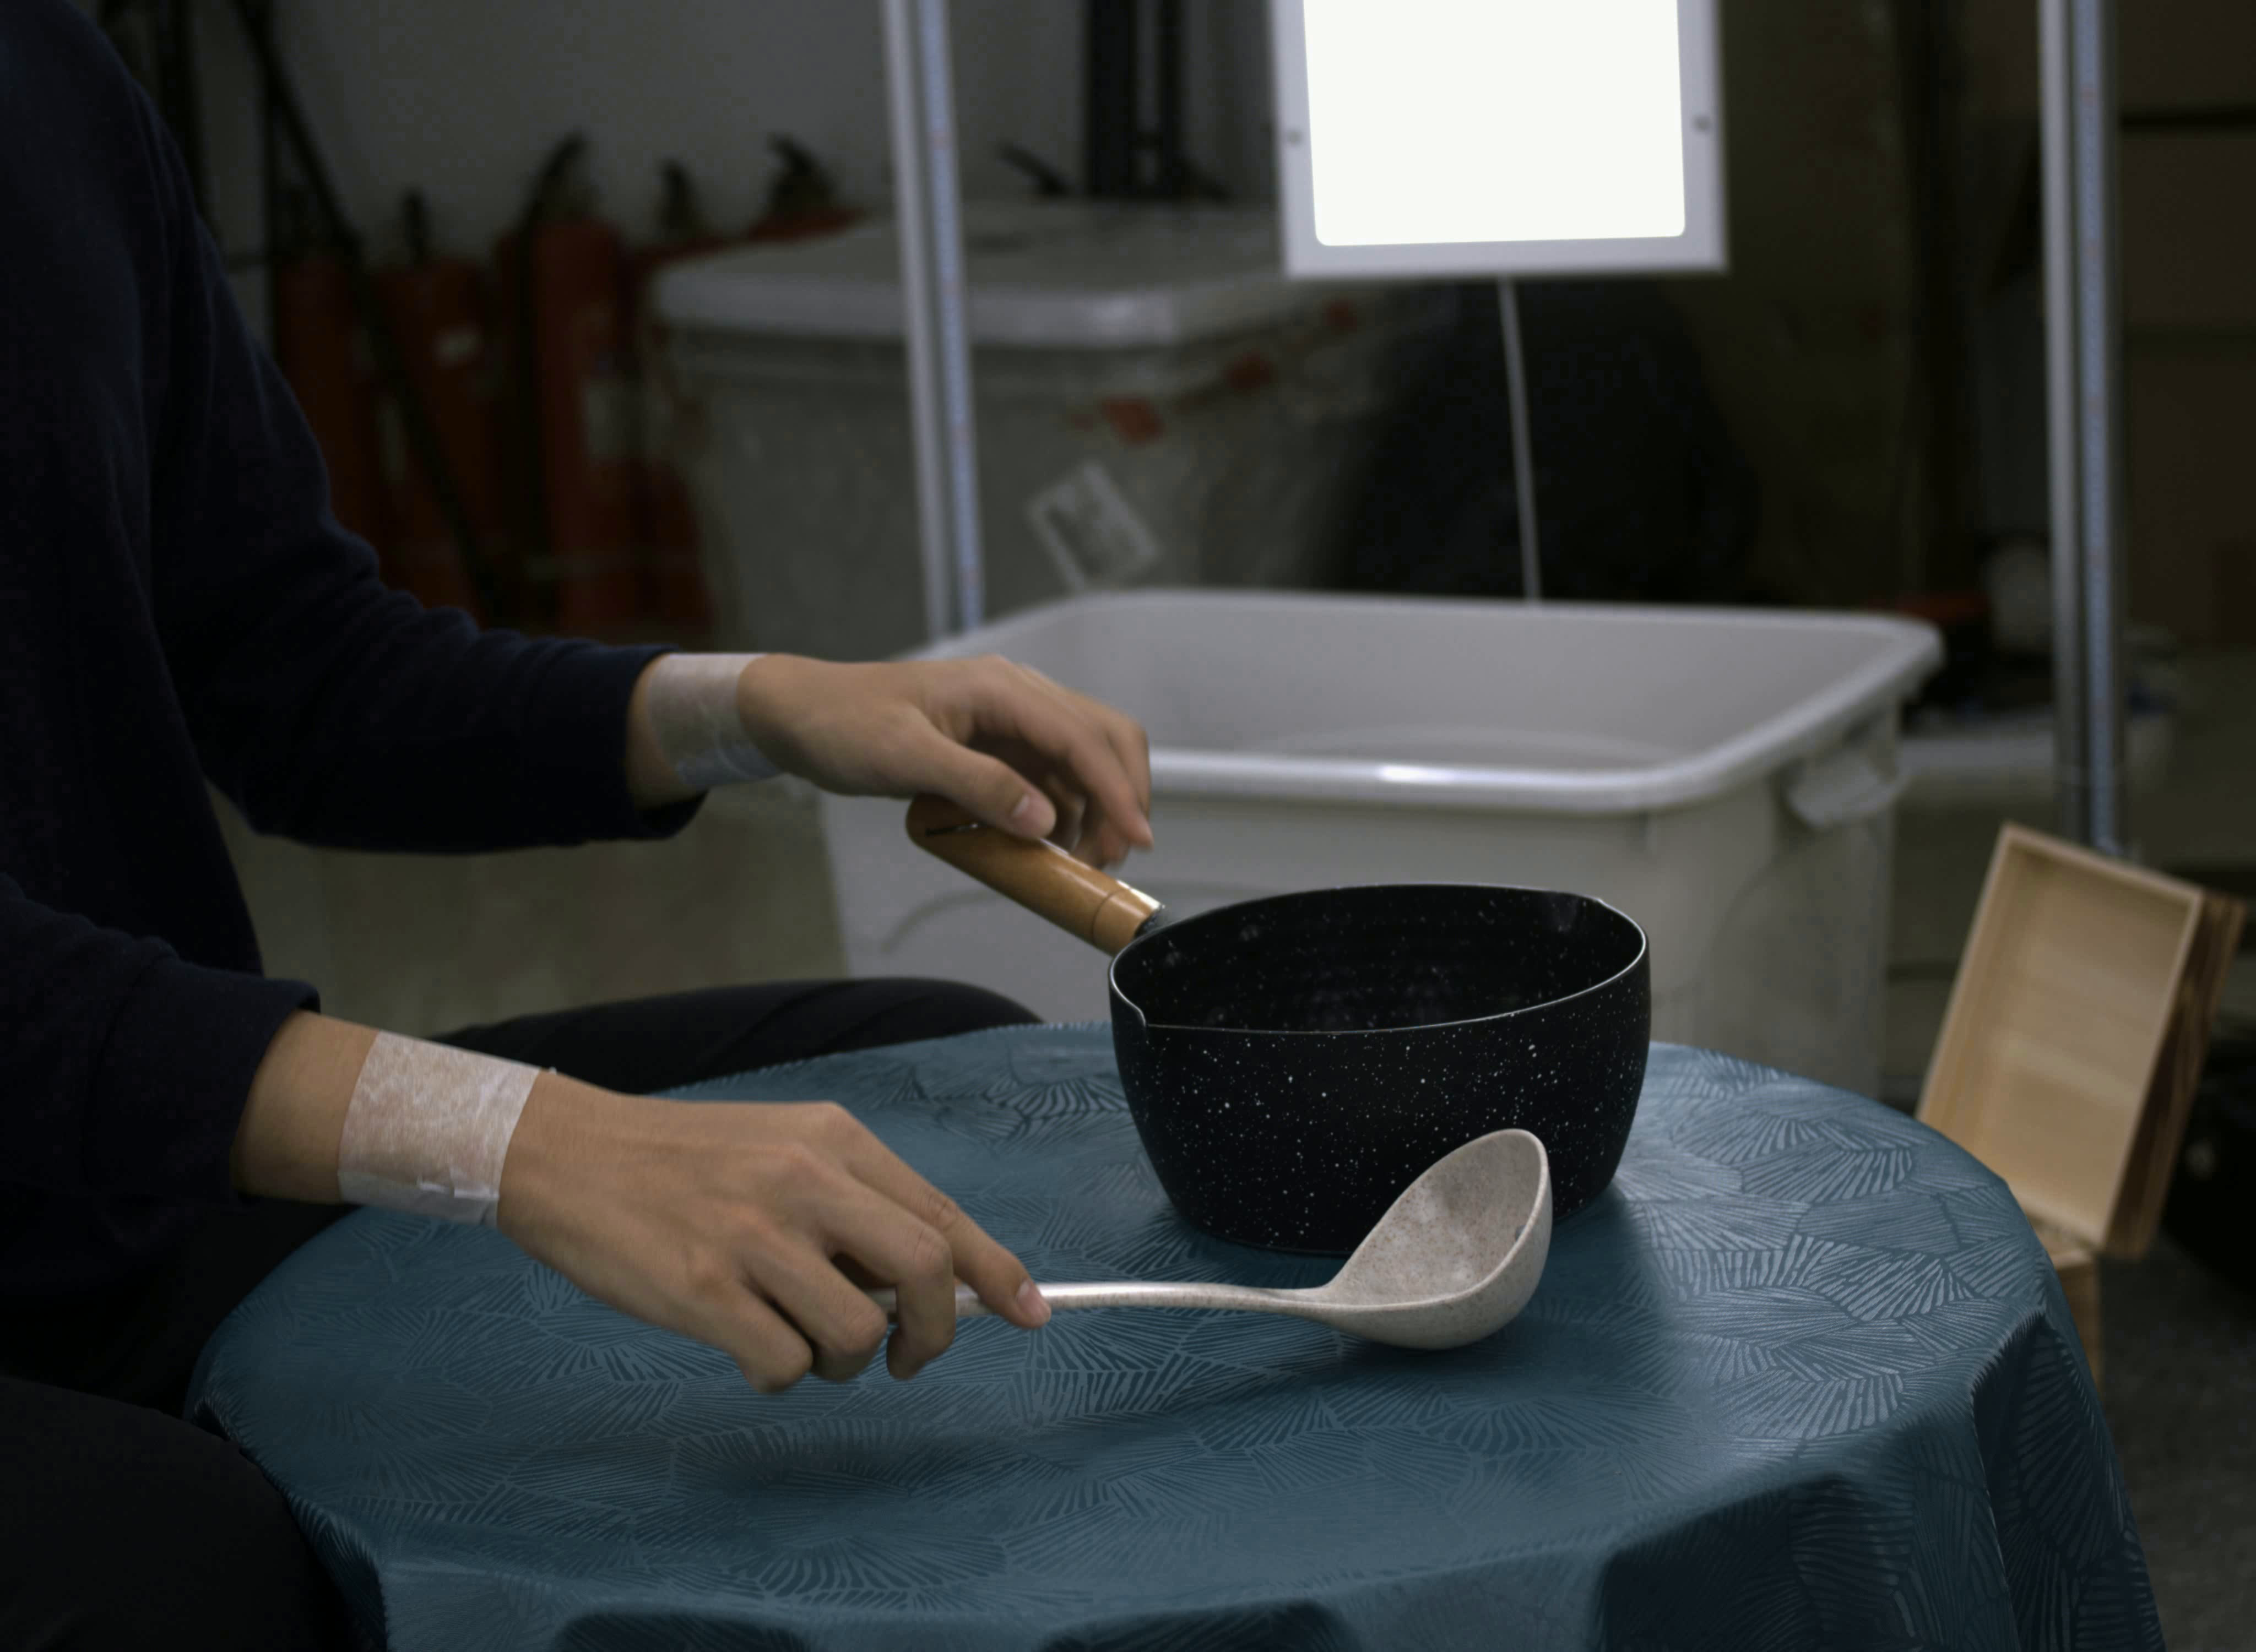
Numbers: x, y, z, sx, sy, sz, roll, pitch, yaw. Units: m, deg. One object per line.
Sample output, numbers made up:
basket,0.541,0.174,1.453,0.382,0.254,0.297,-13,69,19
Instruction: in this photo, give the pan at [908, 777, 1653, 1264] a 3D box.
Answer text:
pan,0.035,0.061,1.924,0.202,0.108,0.350,-17,20,-37

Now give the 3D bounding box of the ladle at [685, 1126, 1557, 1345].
ladle,0.001,0.119,1.675,0.270,0.070,0.090,5,10,-19
